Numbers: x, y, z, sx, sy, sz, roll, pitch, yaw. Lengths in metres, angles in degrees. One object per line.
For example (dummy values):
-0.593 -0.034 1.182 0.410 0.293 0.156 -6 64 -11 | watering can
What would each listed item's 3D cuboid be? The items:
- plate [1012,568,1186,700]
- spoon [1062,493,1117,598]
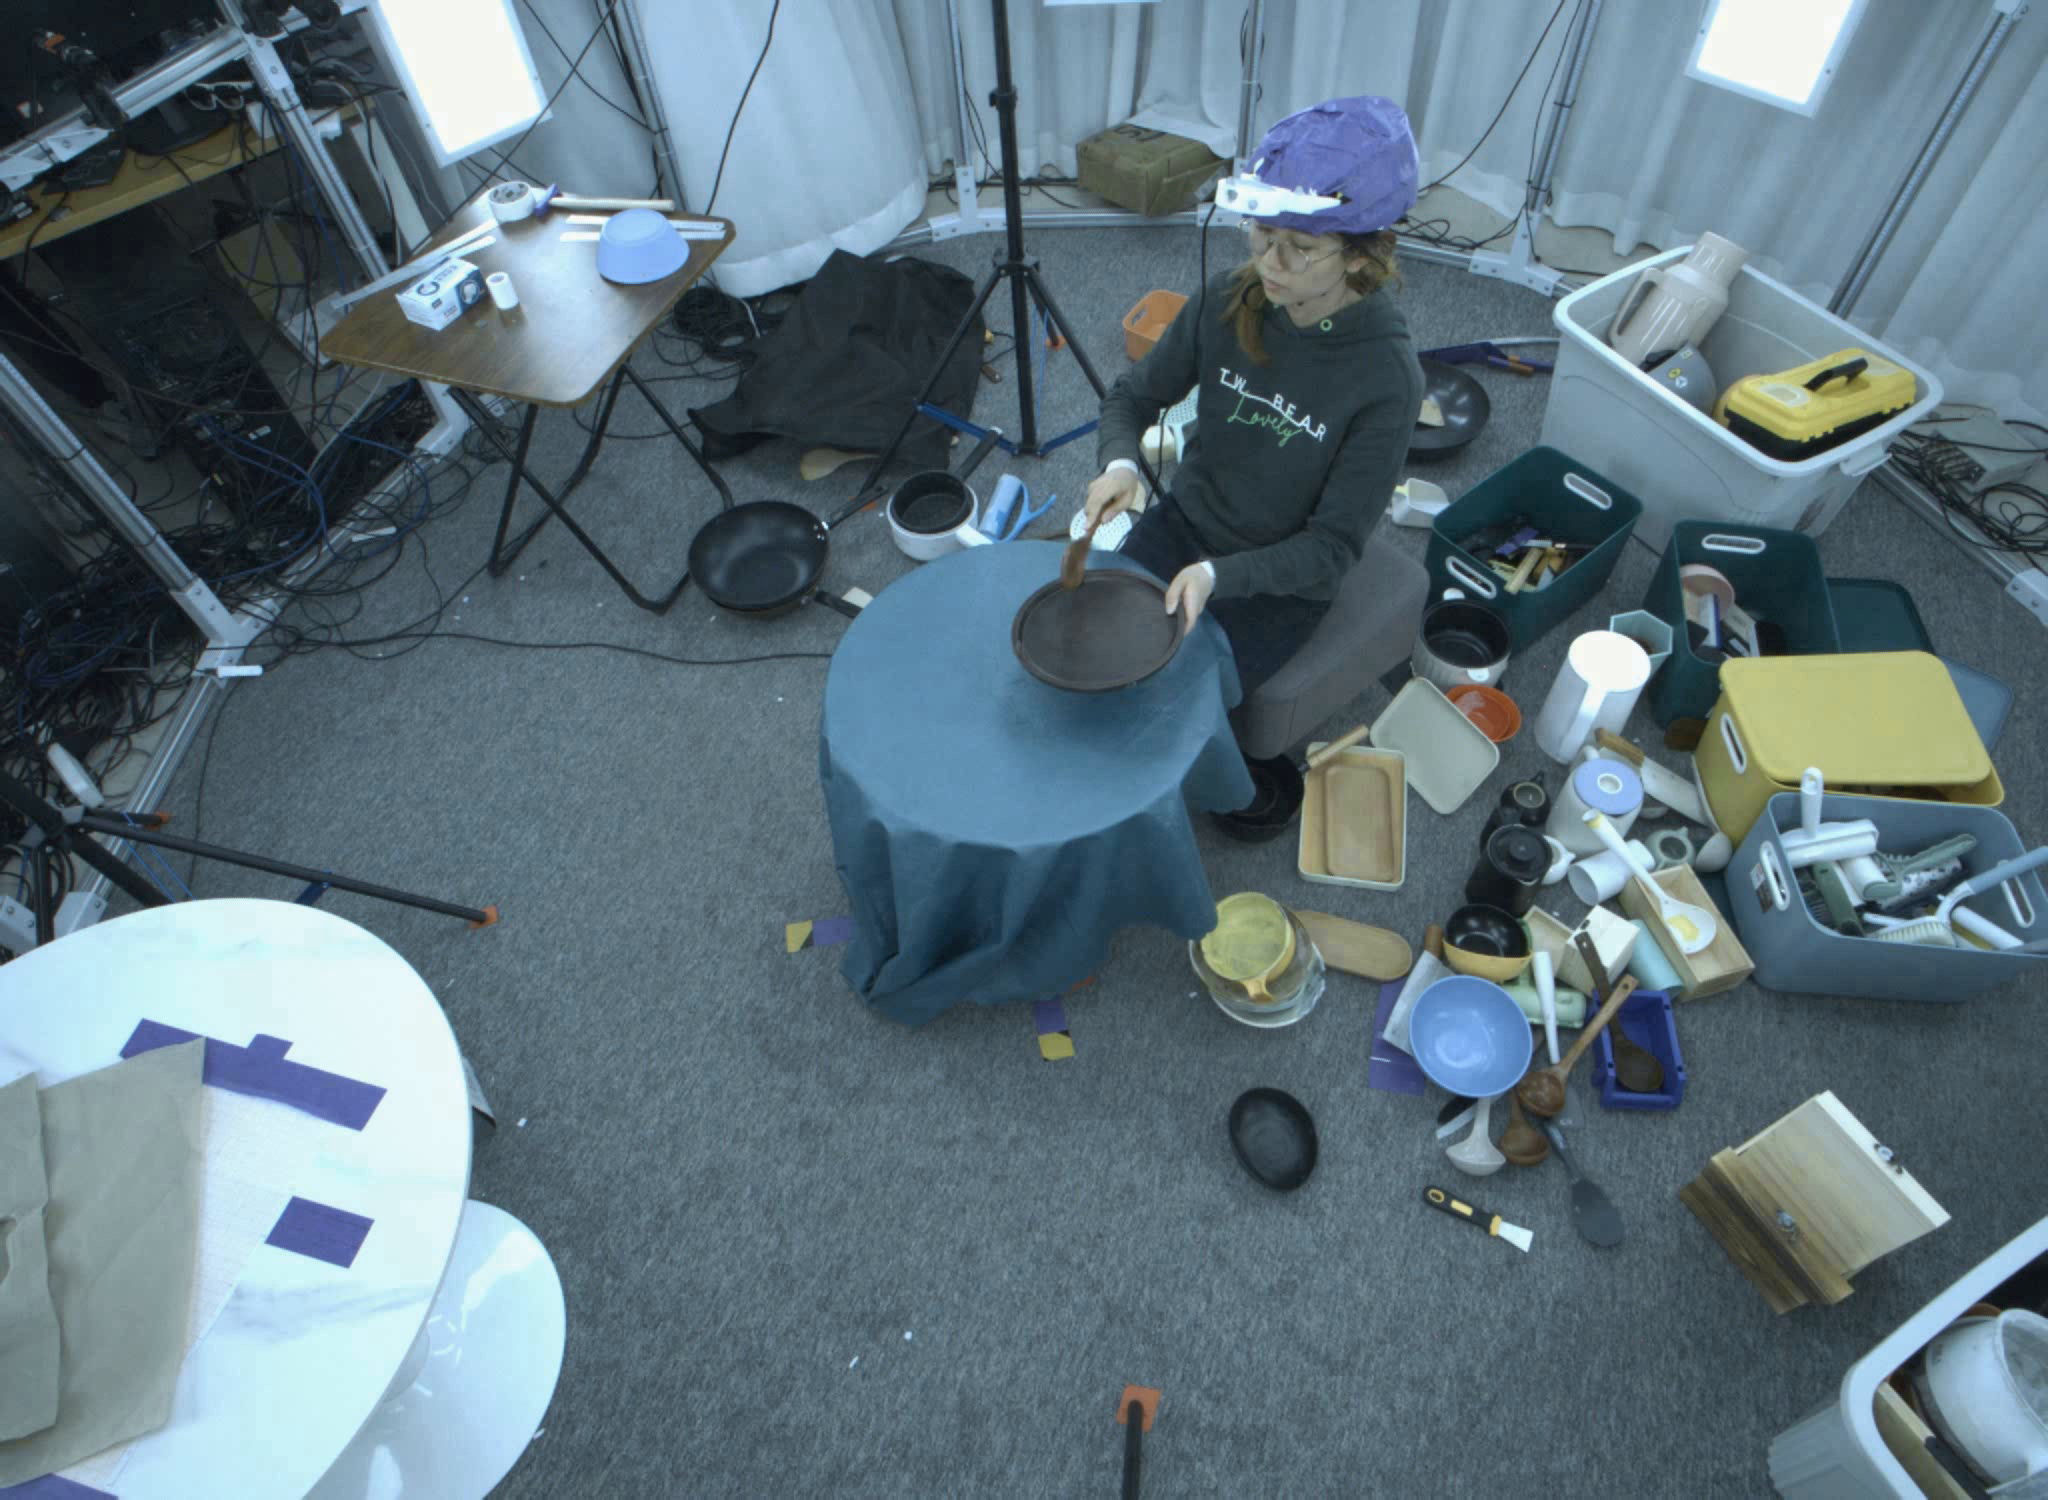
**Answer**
0.109 -0.168 1.787 0.254 0.029 0.252 -3 51 5 | plate
0.097 -0.314 1.845 0.017 0.077 0.216 10 53 24 | spoon
